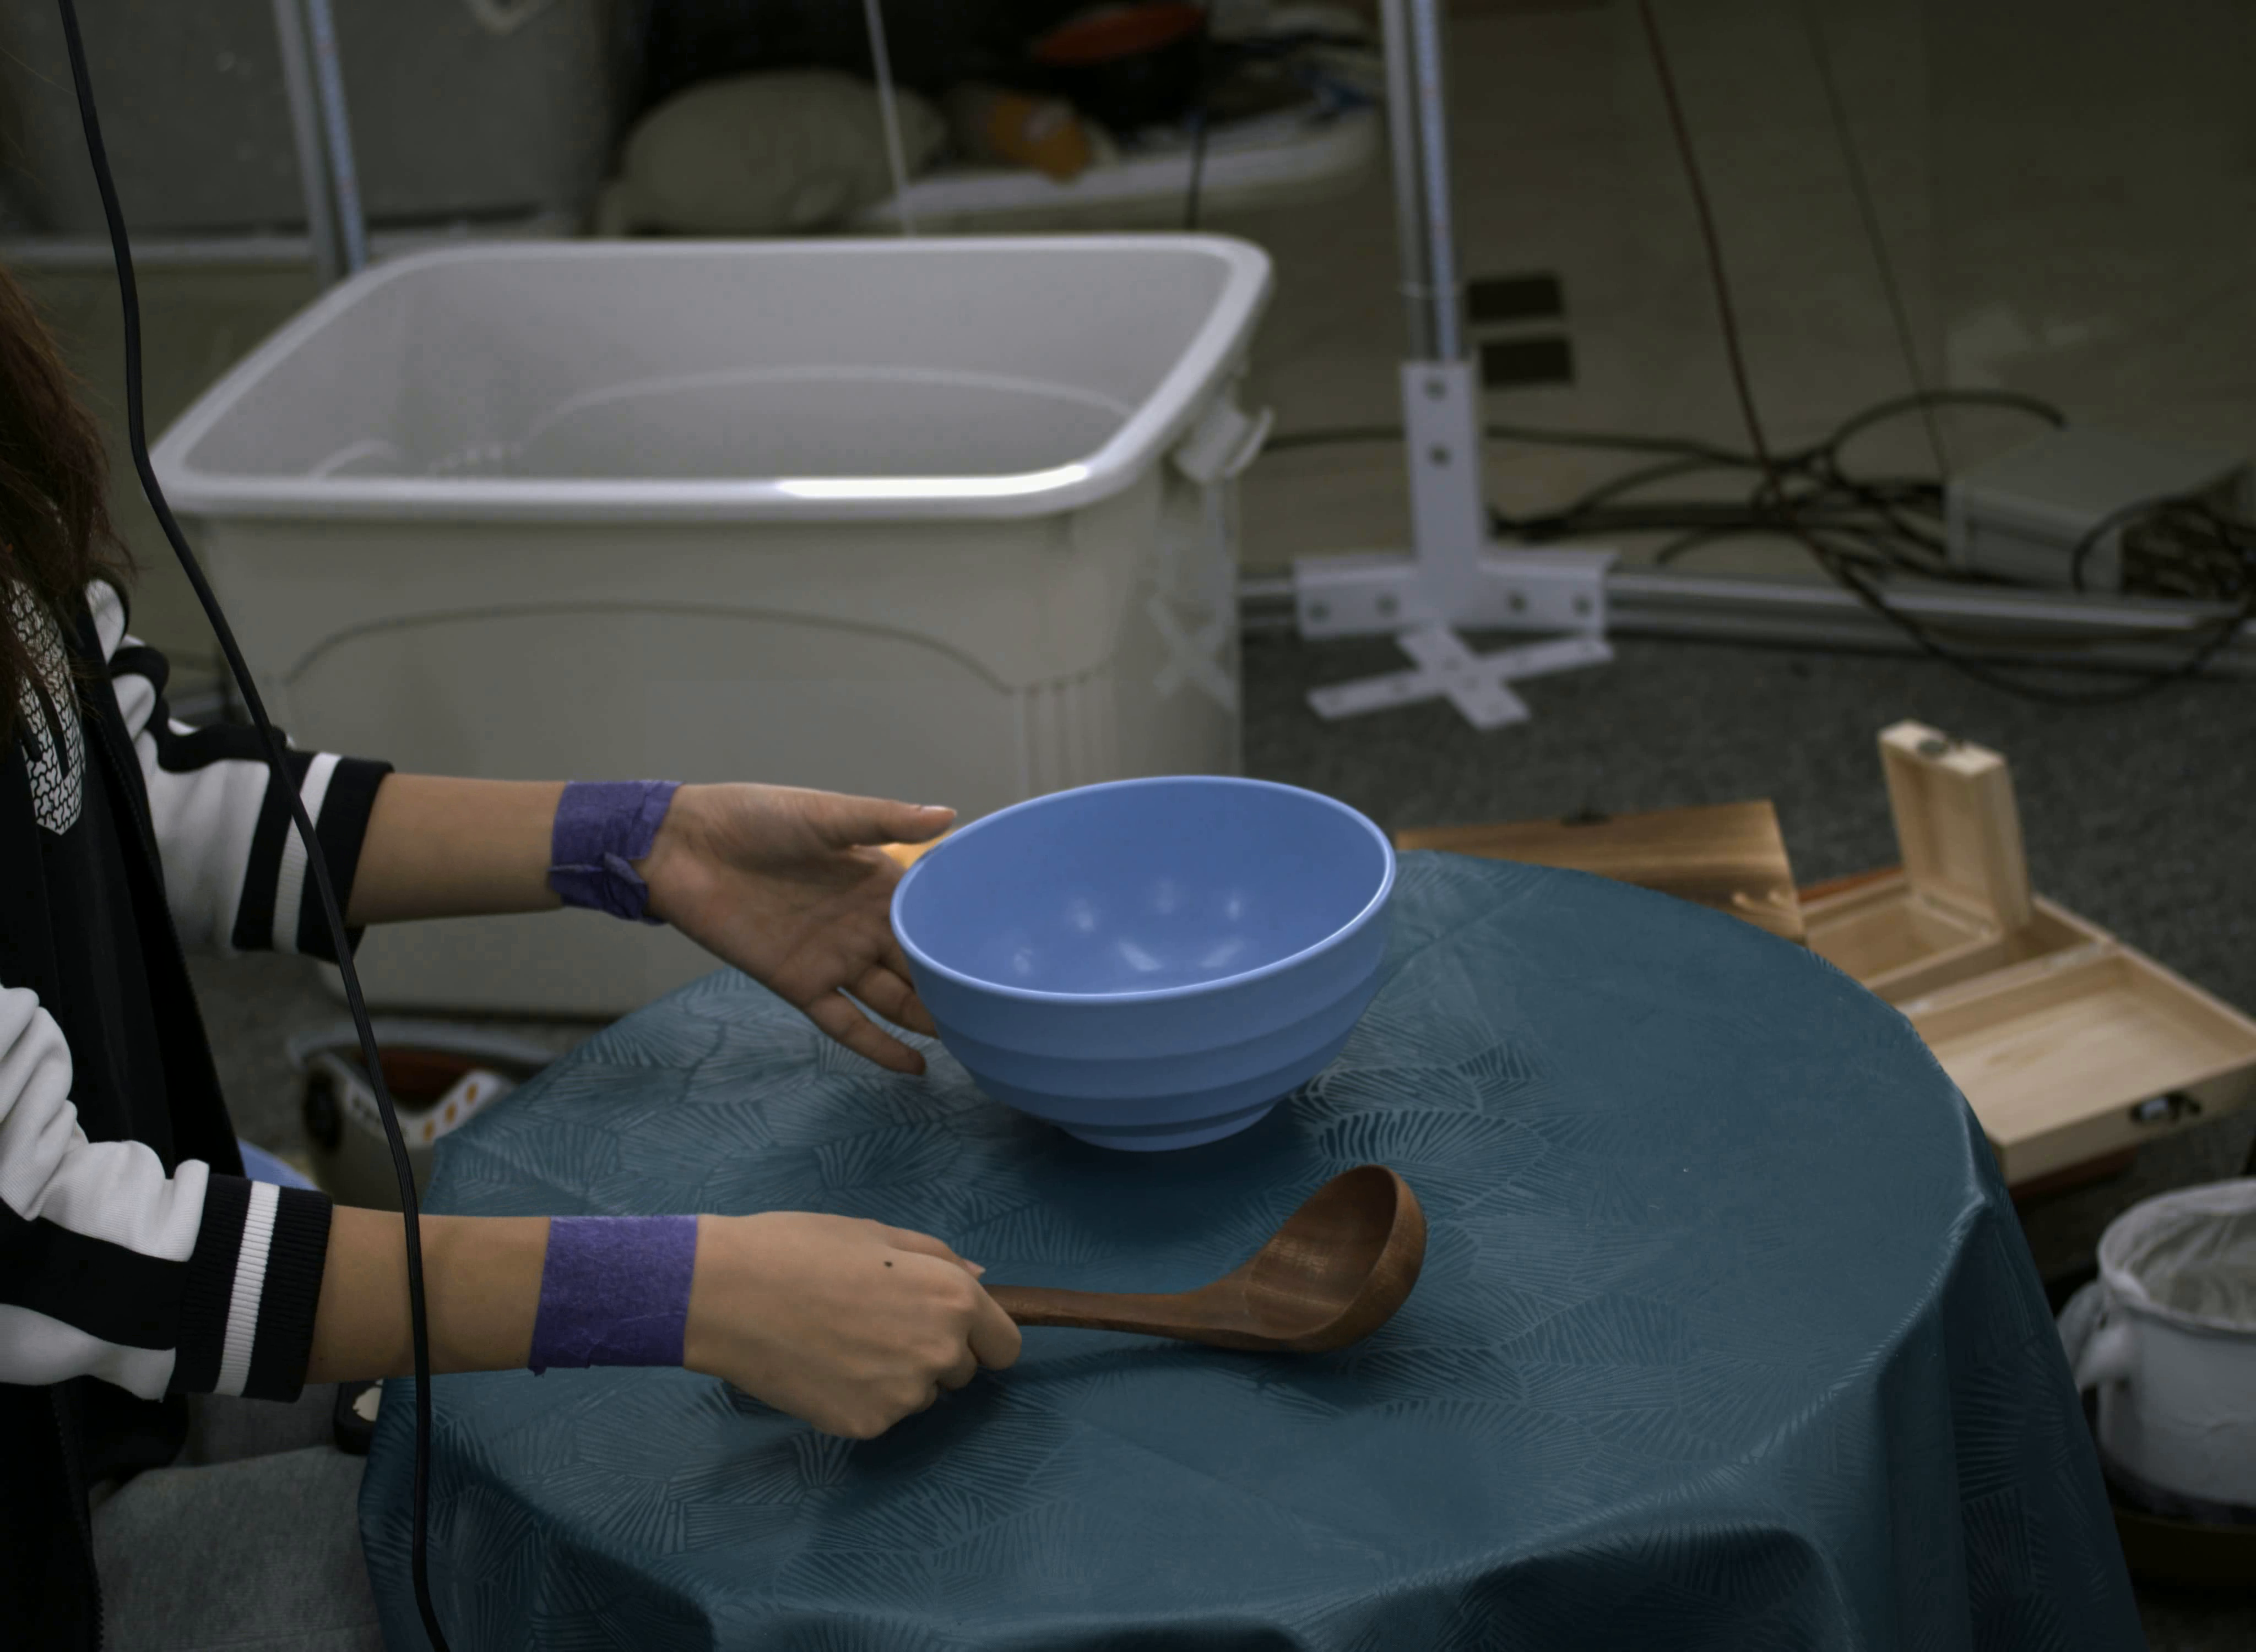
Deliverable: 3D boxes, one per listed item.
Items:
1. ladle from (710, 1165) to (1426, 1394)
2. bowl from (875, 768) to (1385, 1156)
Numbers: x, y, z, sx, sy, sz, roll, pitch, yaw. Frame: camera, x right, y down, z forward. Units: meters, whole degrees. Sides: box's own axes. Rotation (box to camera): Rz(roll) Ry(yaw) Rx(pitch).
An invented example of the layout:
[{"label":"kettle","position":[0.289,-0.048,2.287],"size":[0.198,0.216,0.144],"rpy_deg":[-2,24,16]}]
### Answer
[{"label":"ladle","position":[-0.023,0.164,2.022],"size":[0.260,0.066,0.075],"rpy_deg":[-4,32,2]},{"label":"bowl","position":[0.002,0.064,2.197],"size":[0.196,0.097,0.193],"rpy_deg":[-2,30,1]}]
